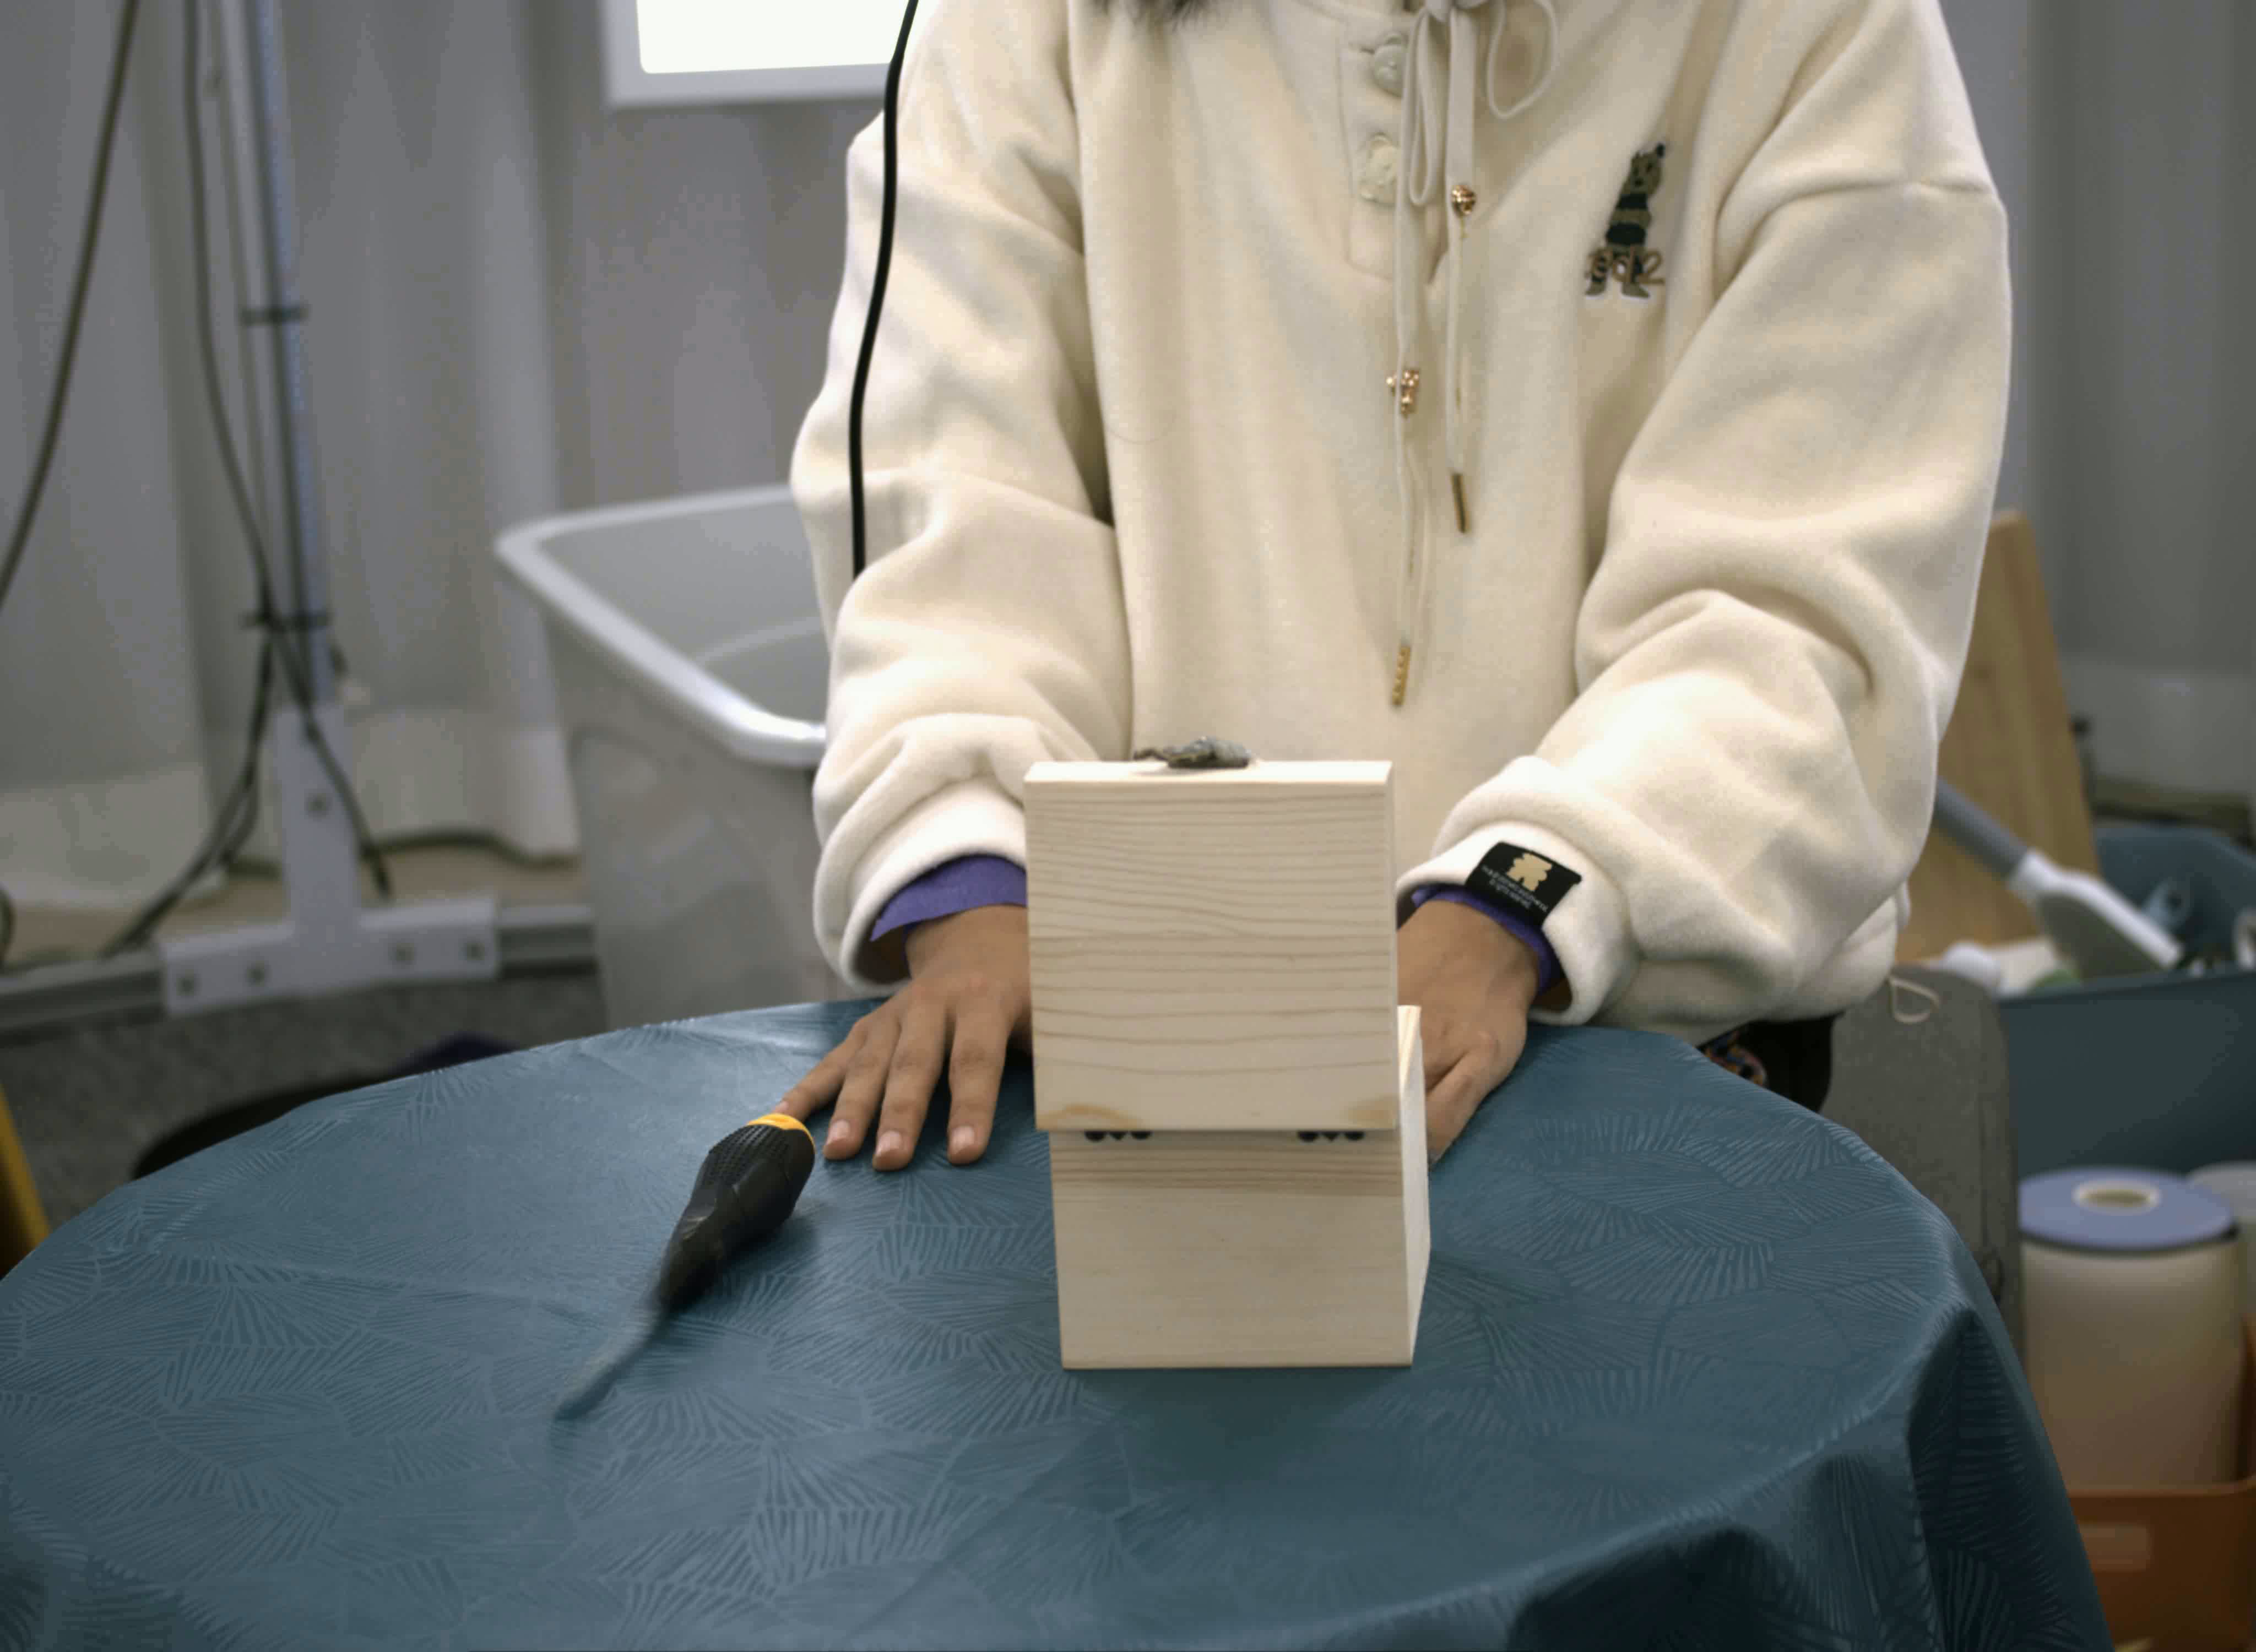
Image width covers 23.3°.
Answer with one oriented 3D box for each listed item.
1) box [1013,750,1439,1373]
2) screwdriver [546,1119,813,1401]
[{"bbox_3d":[0.031,0.056,1.573,0.102,0.184,0.135,-2,15,7],"label":"box"},{"bbox_3d":[-0.138,0.131,1.636,0.031,0.031,0.198,3,18,19],"label":"screwdriver"}]
